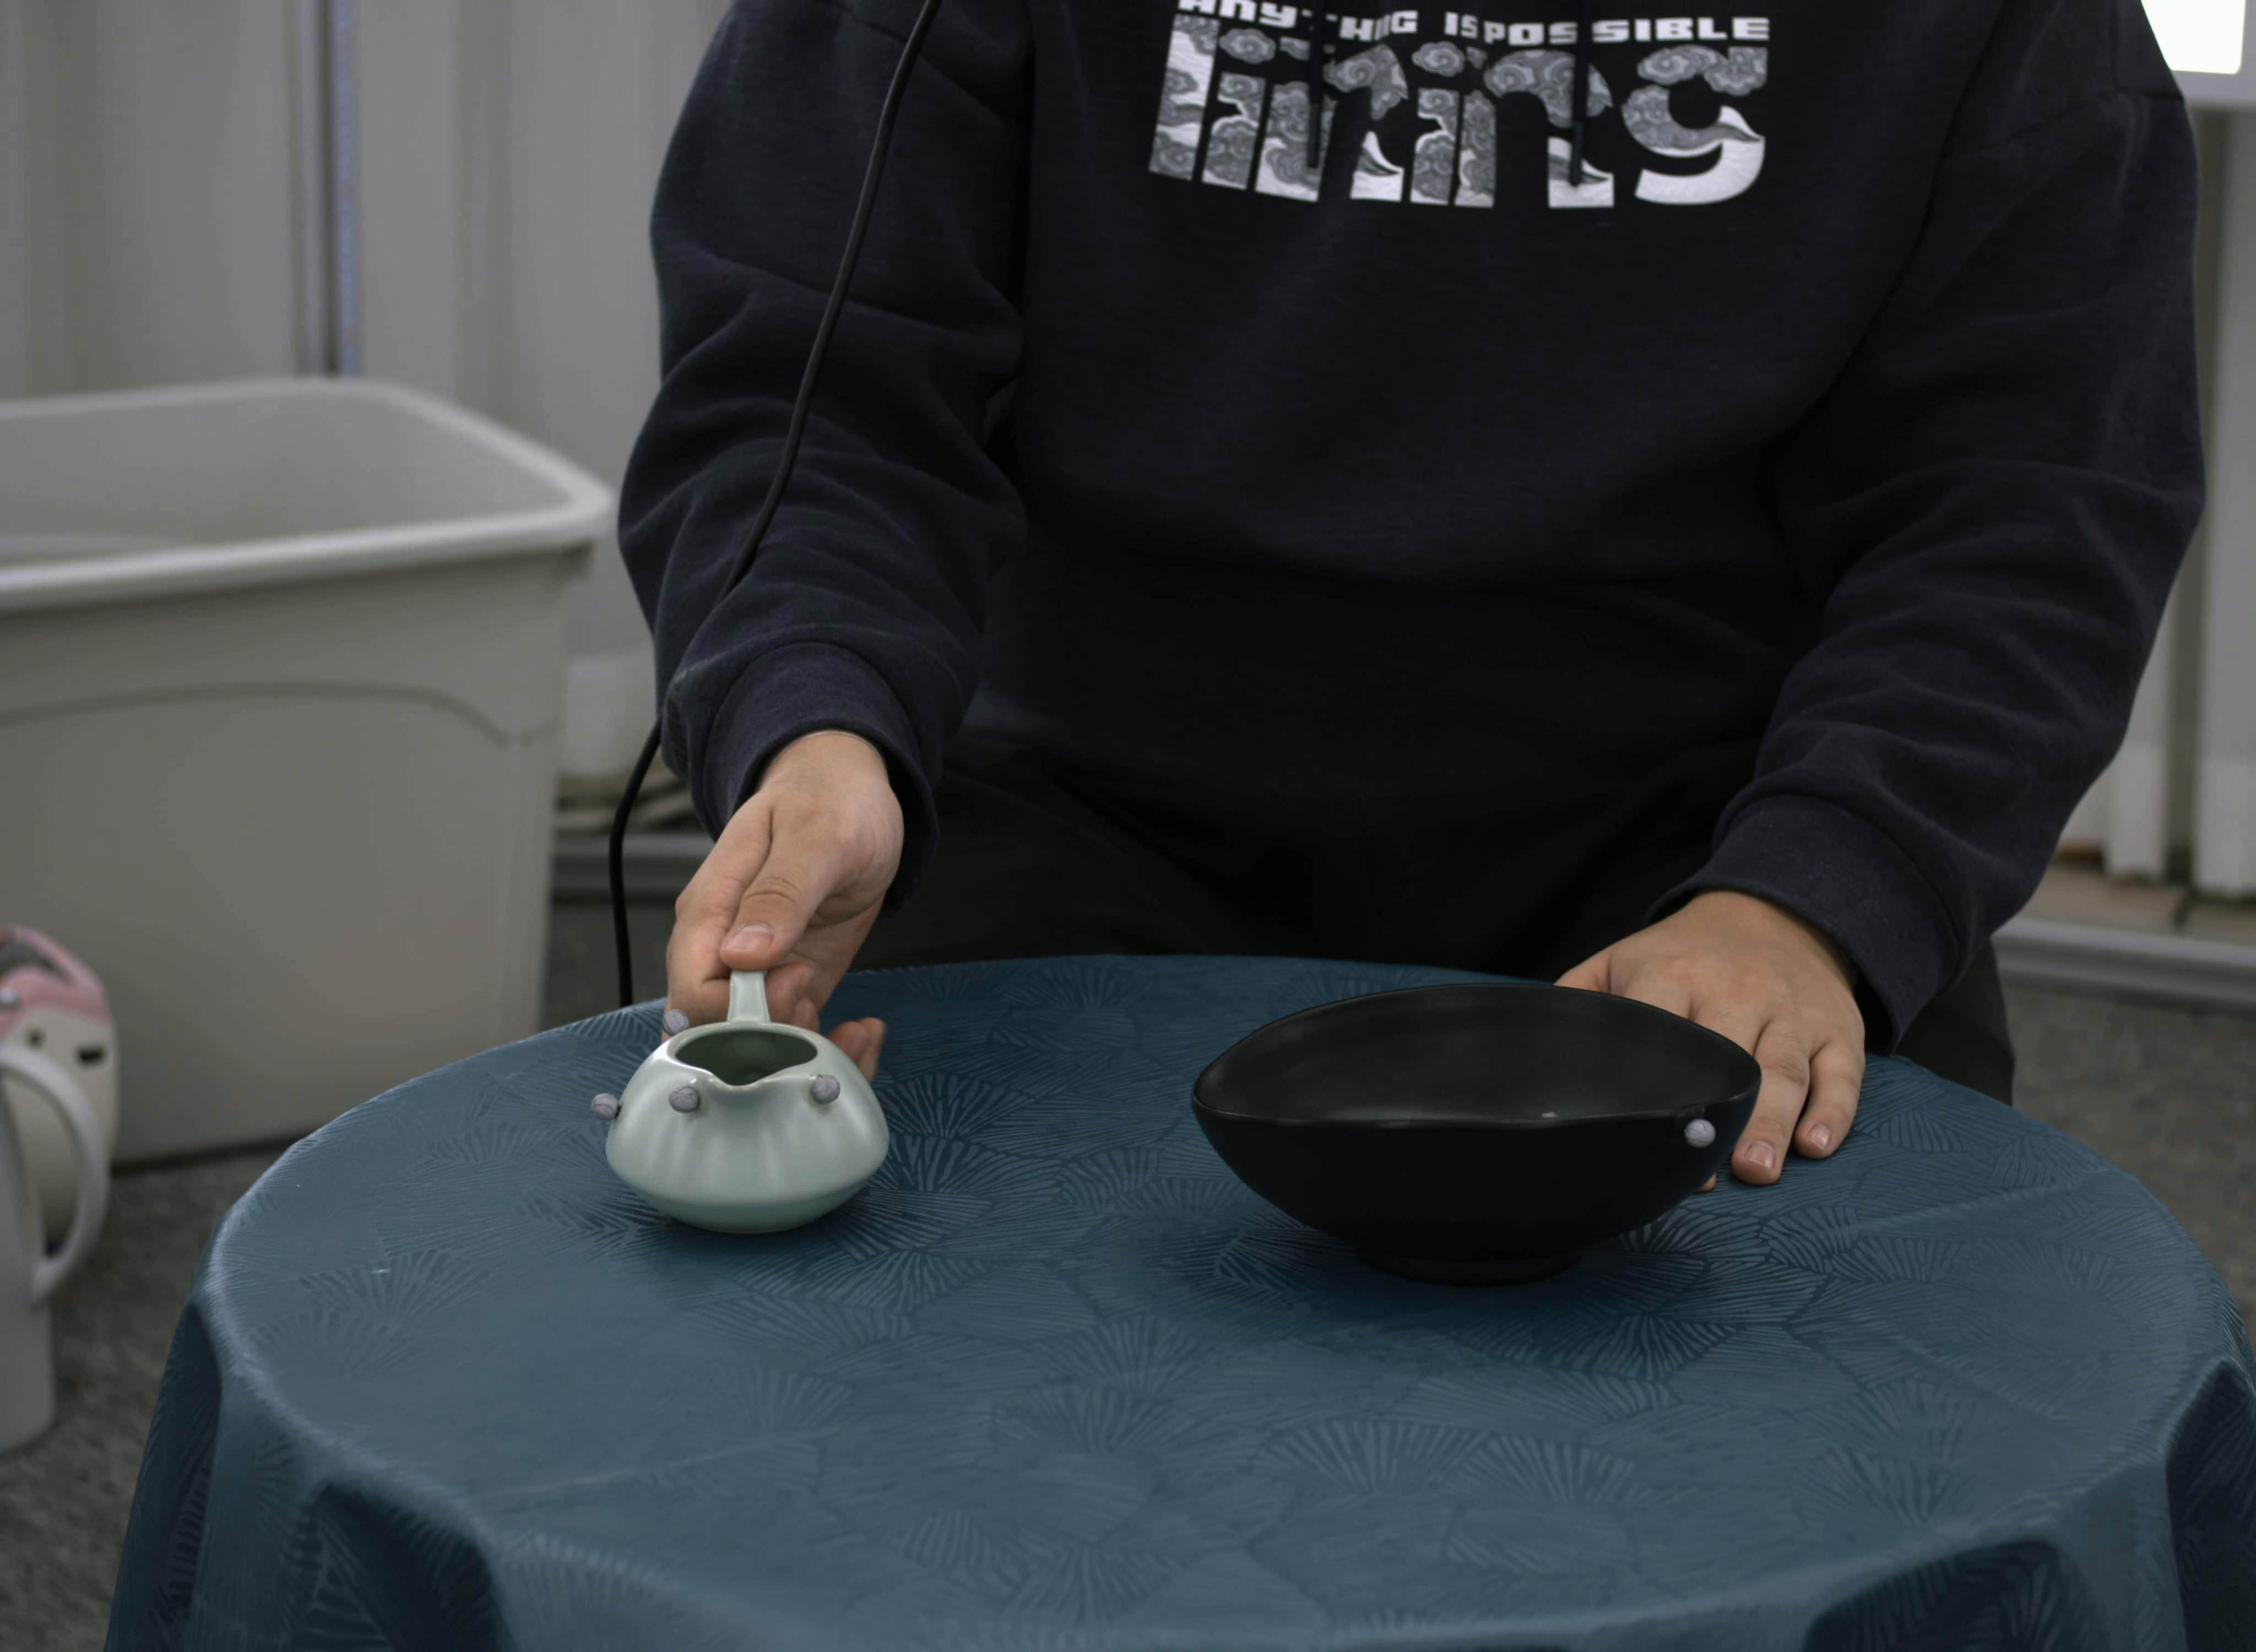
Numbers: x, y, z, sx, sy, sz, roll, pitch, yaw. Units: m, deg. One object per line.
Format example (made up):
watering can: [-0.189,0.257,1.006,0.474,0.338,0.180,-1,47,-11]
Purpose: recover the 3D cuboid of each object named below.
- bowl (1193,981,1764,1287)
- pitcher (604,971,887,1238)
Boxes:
bowl: [0.105,0.097,1.571,0.170,0.067,0.136,-1,15,-4]
pitcher: [-0.116,0.086,1.605,0.086,0.061,0.107,1,18,-3]
